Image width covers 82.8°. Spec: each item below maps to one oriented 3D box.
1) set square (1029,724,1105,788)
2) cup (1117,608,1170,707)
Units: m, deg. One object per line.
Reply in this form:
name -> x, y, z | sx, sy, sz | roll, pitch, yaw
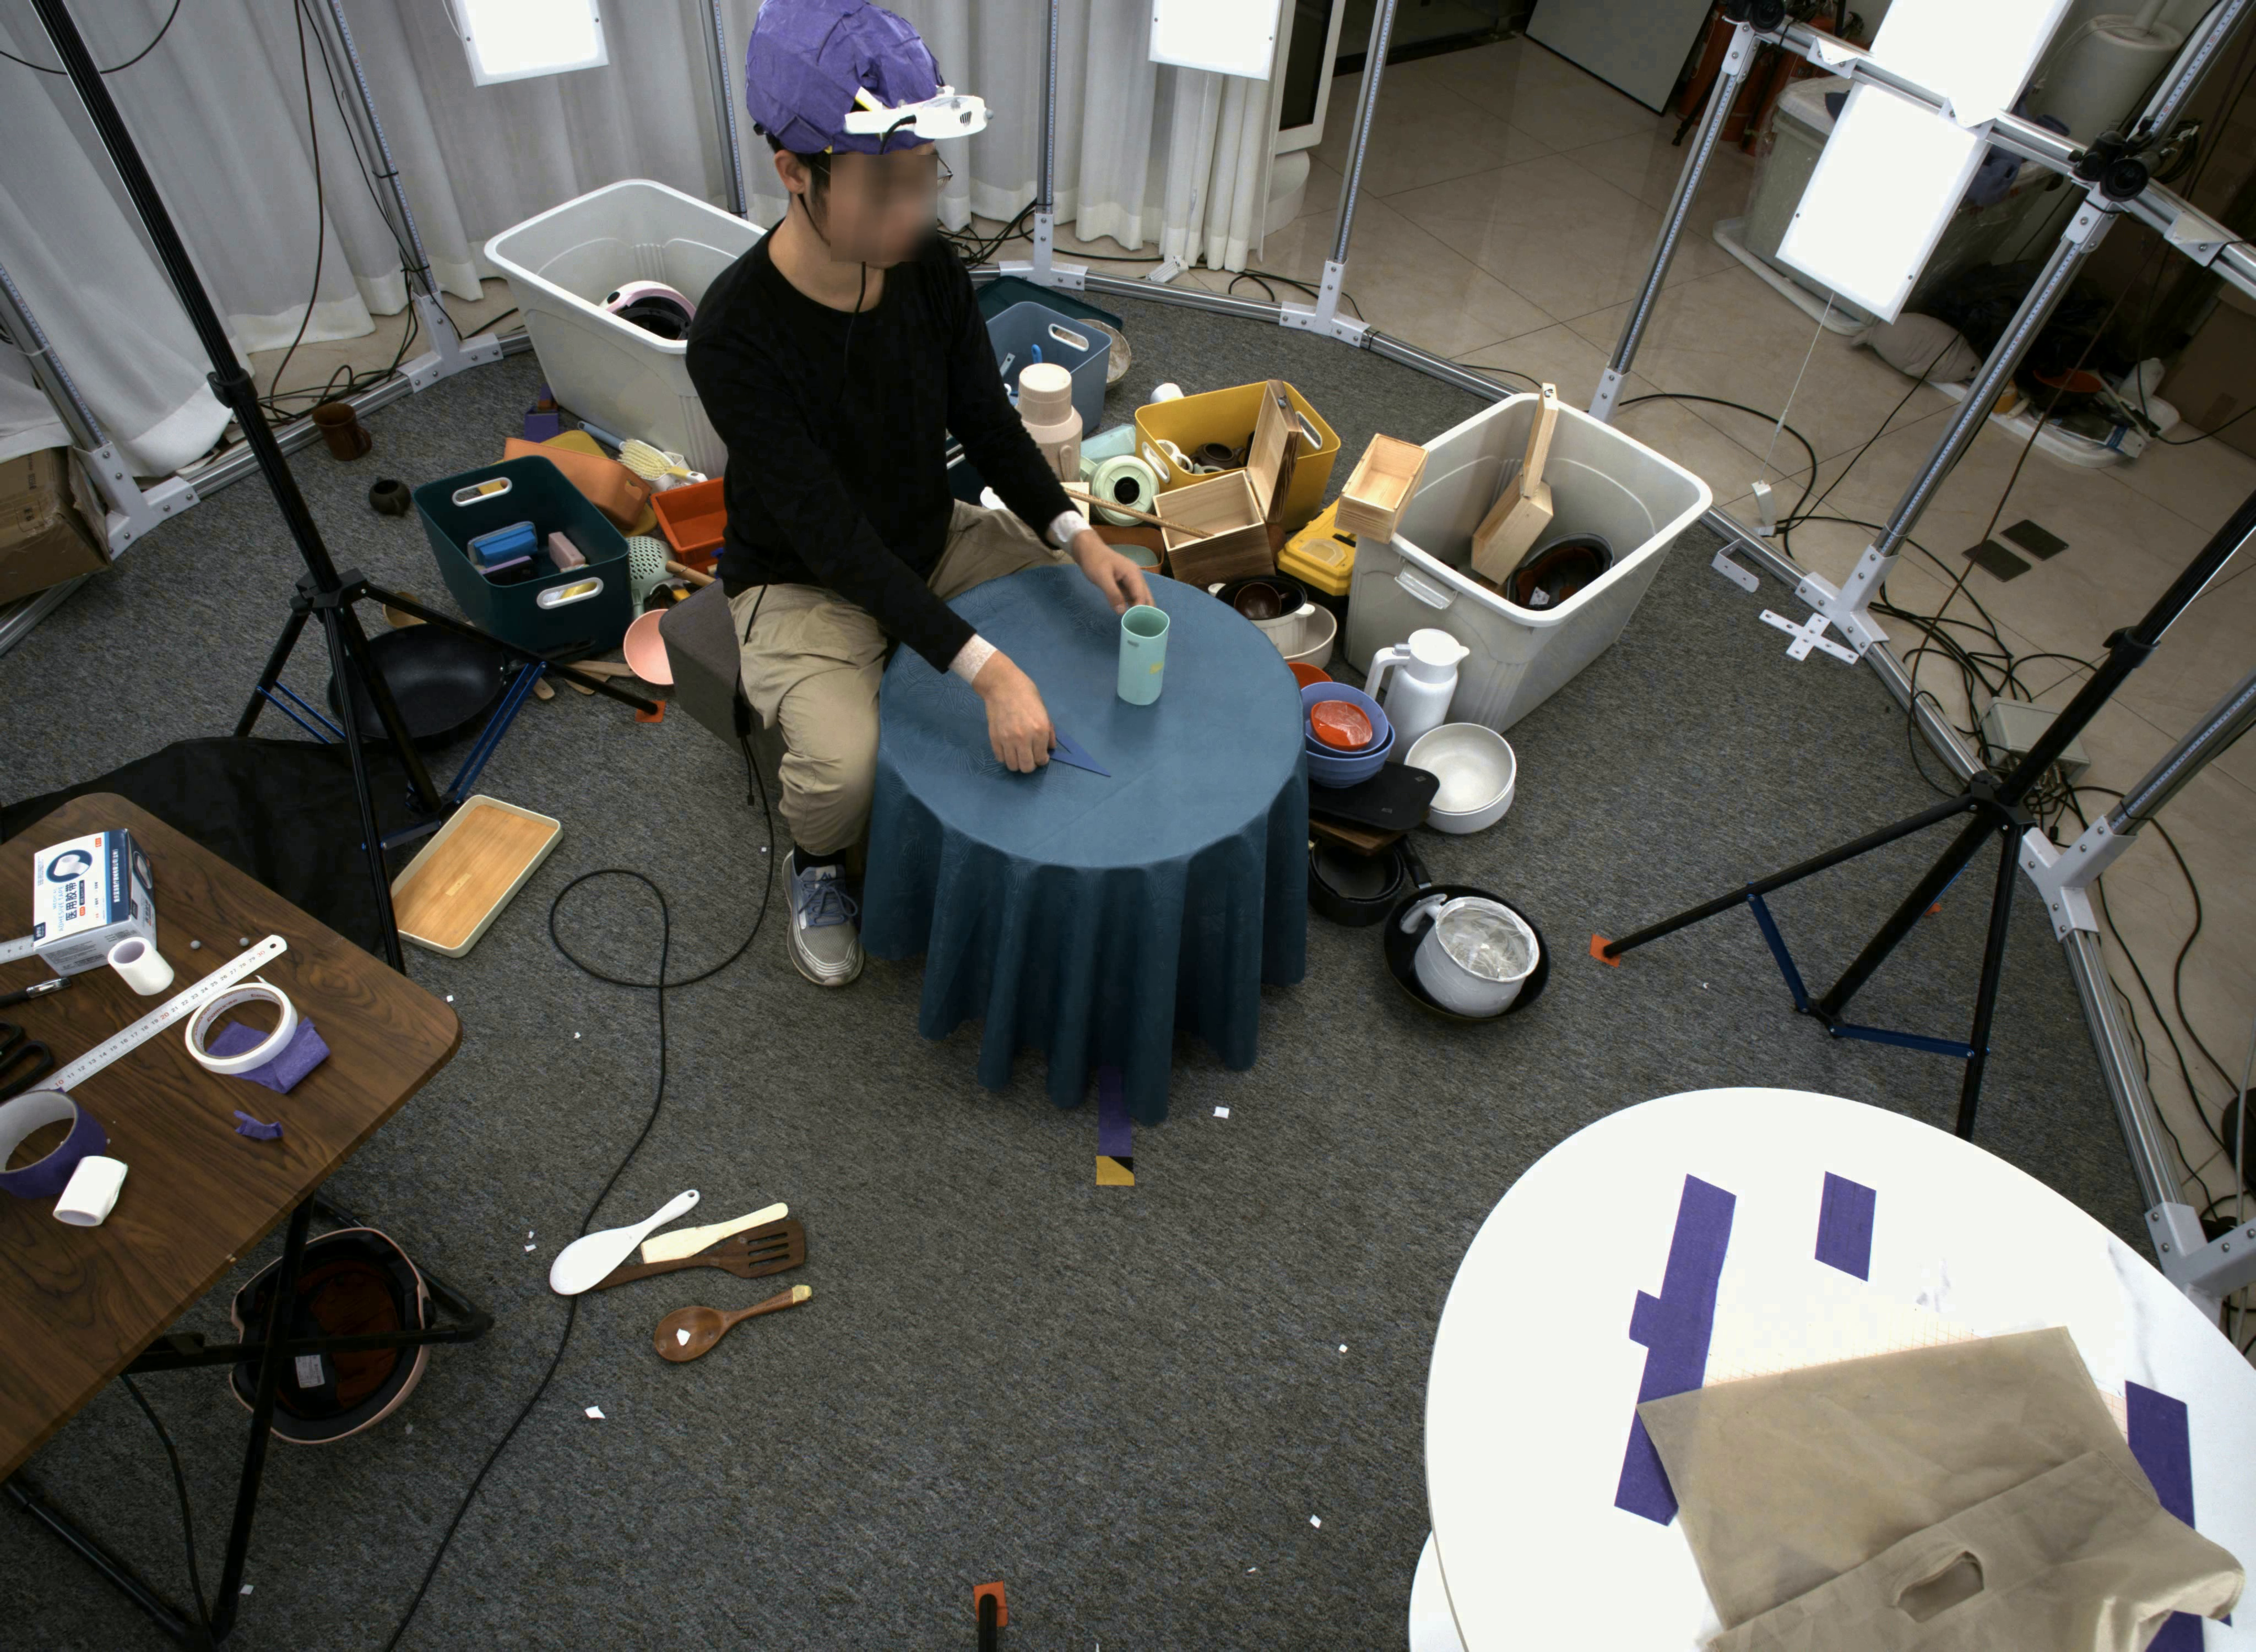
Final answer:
set square -> -0.089, -0.088, 1.737 | 0.061, 0.006, 0.134 | -26, 57, -25
cup -> 0.019, -0.236, 1.796 | 0.066, 0.129, 0.068 | 2, 50, -3
